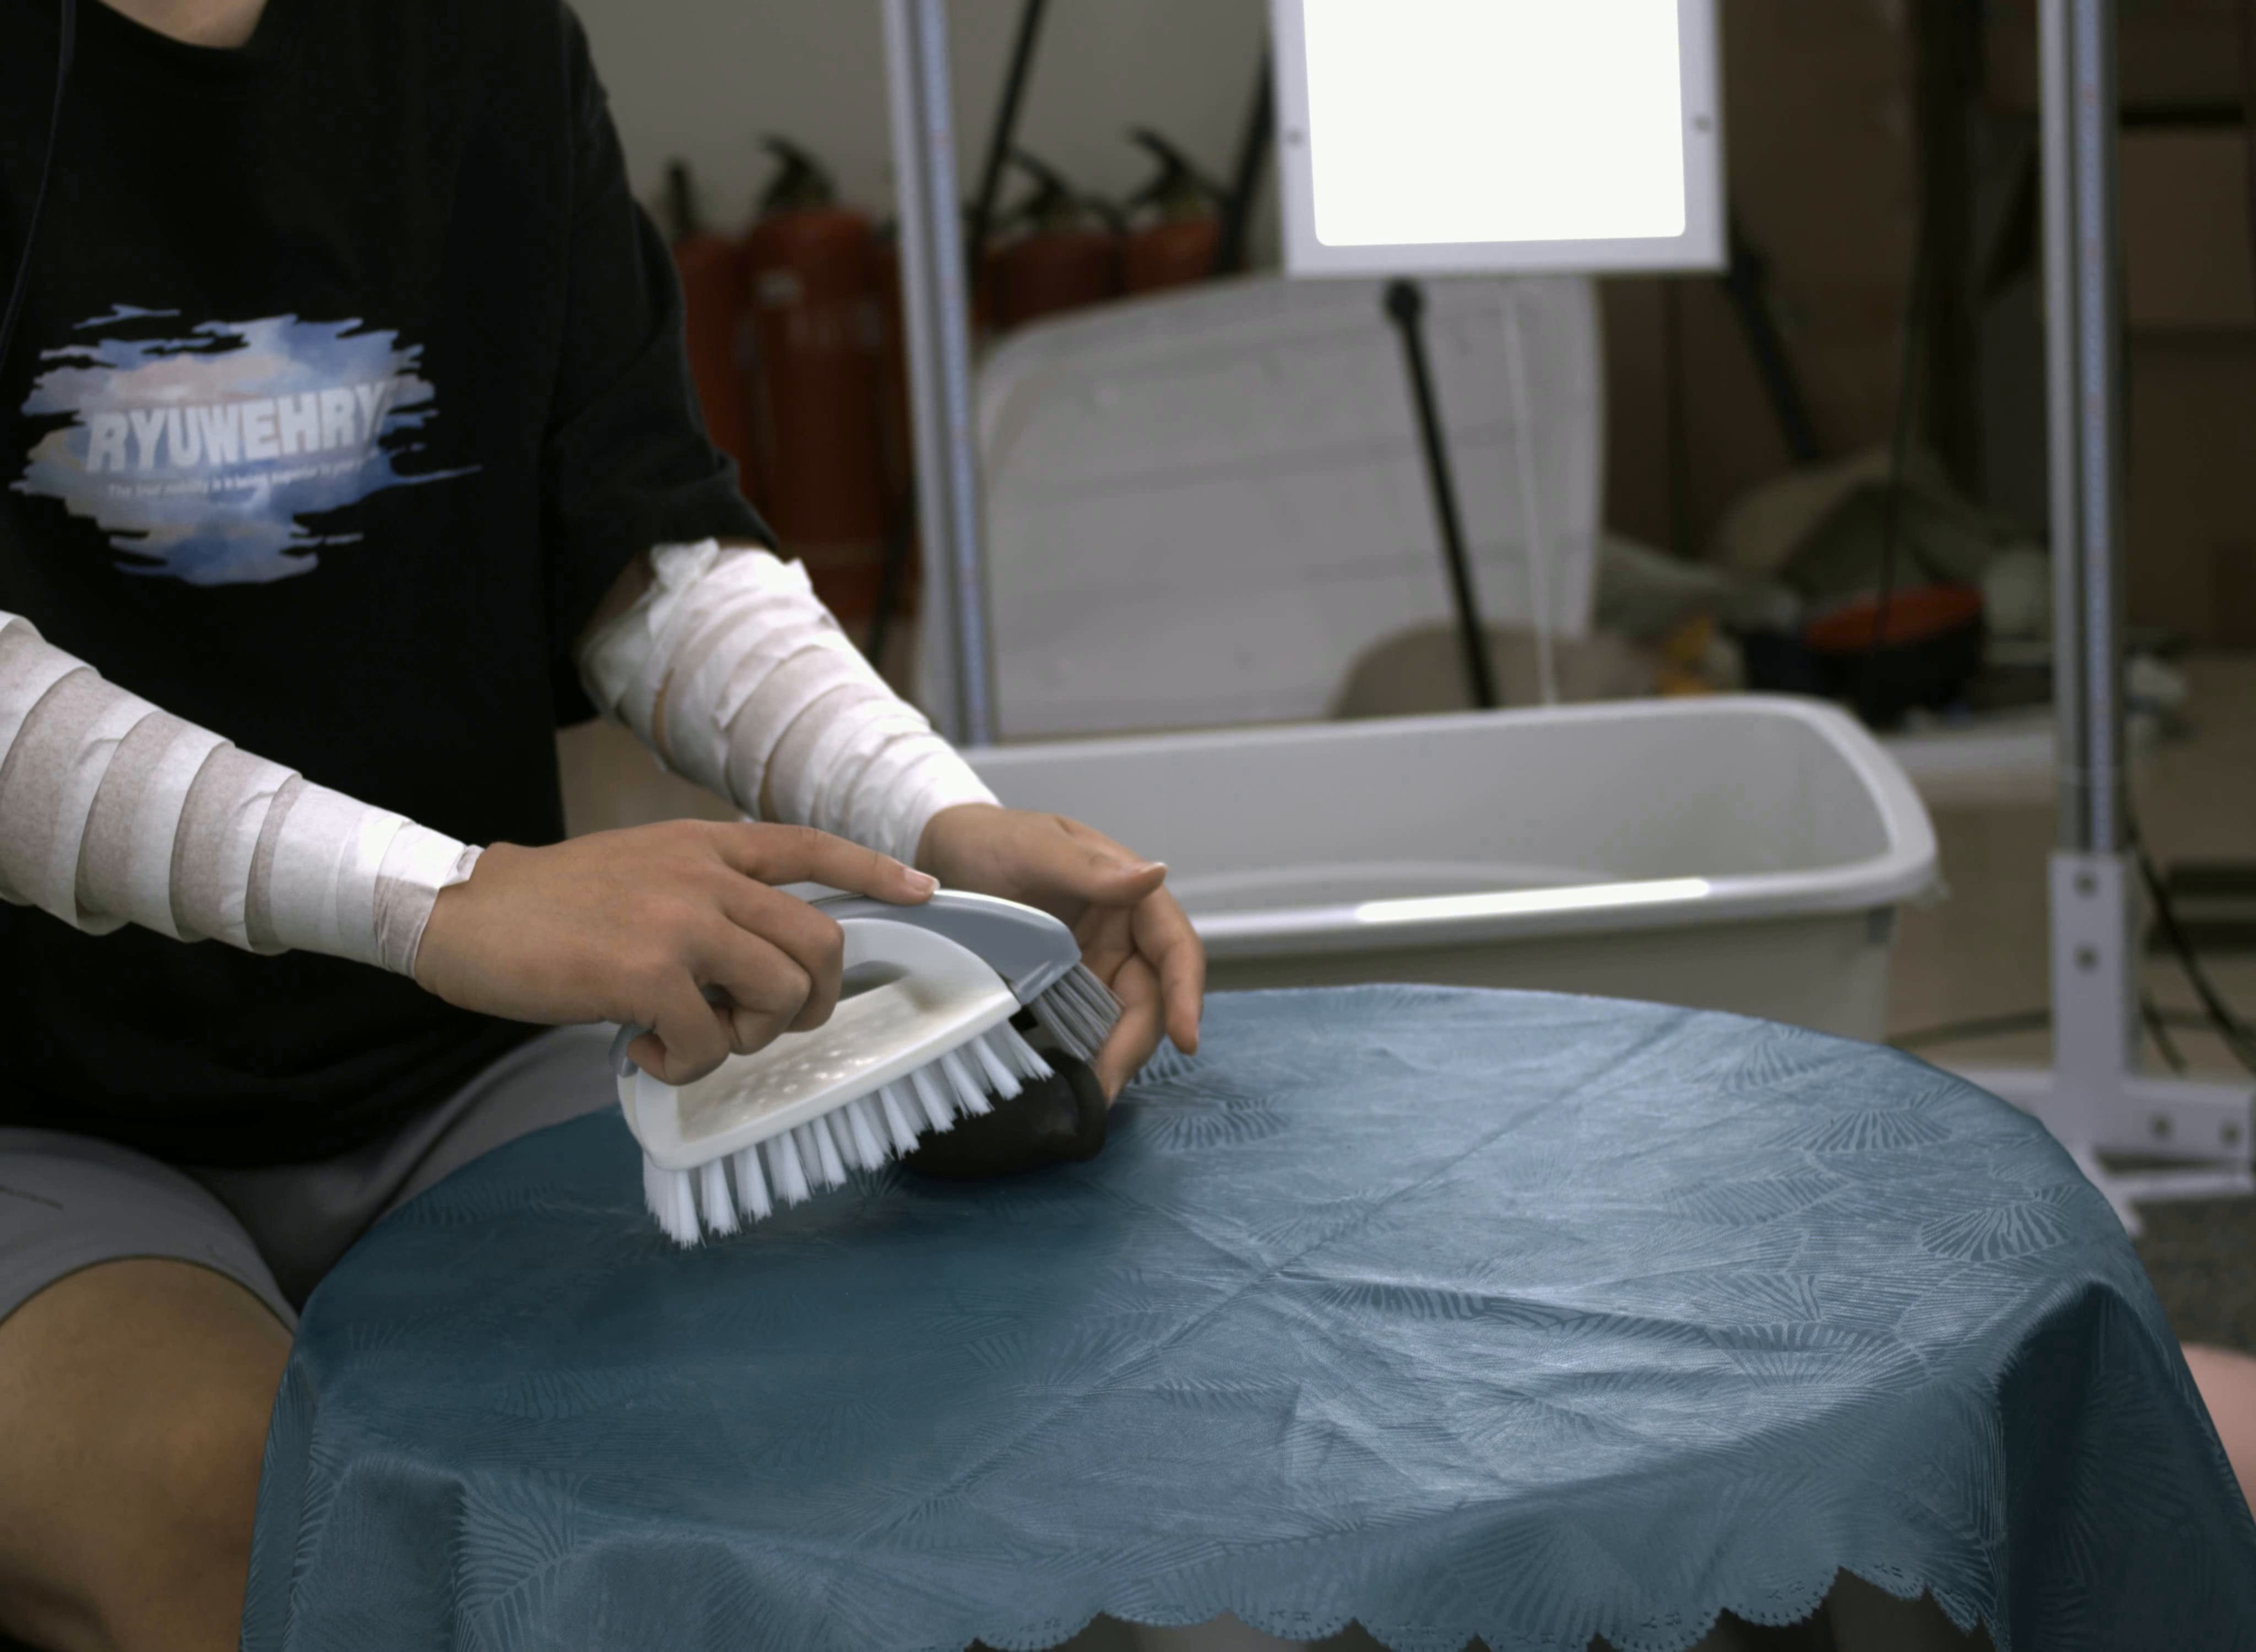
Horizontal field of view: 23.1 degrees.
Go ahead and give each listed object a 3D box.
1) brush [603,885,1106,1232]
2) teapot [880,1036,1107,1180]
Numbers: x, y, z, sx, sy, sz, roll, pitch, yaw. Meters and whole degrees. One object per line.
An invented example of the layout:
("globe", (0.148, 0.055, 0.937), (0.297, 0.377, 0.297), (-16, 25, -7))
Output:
("brush", (-0.095, 0.063, 1.874), (0.174, 0.094, 0.062), (-21, 31, -9))
("teapot", (-0.045, 0.094, 1.942), (0.081, 0.053, 0.116), (-15, 15, -34))
